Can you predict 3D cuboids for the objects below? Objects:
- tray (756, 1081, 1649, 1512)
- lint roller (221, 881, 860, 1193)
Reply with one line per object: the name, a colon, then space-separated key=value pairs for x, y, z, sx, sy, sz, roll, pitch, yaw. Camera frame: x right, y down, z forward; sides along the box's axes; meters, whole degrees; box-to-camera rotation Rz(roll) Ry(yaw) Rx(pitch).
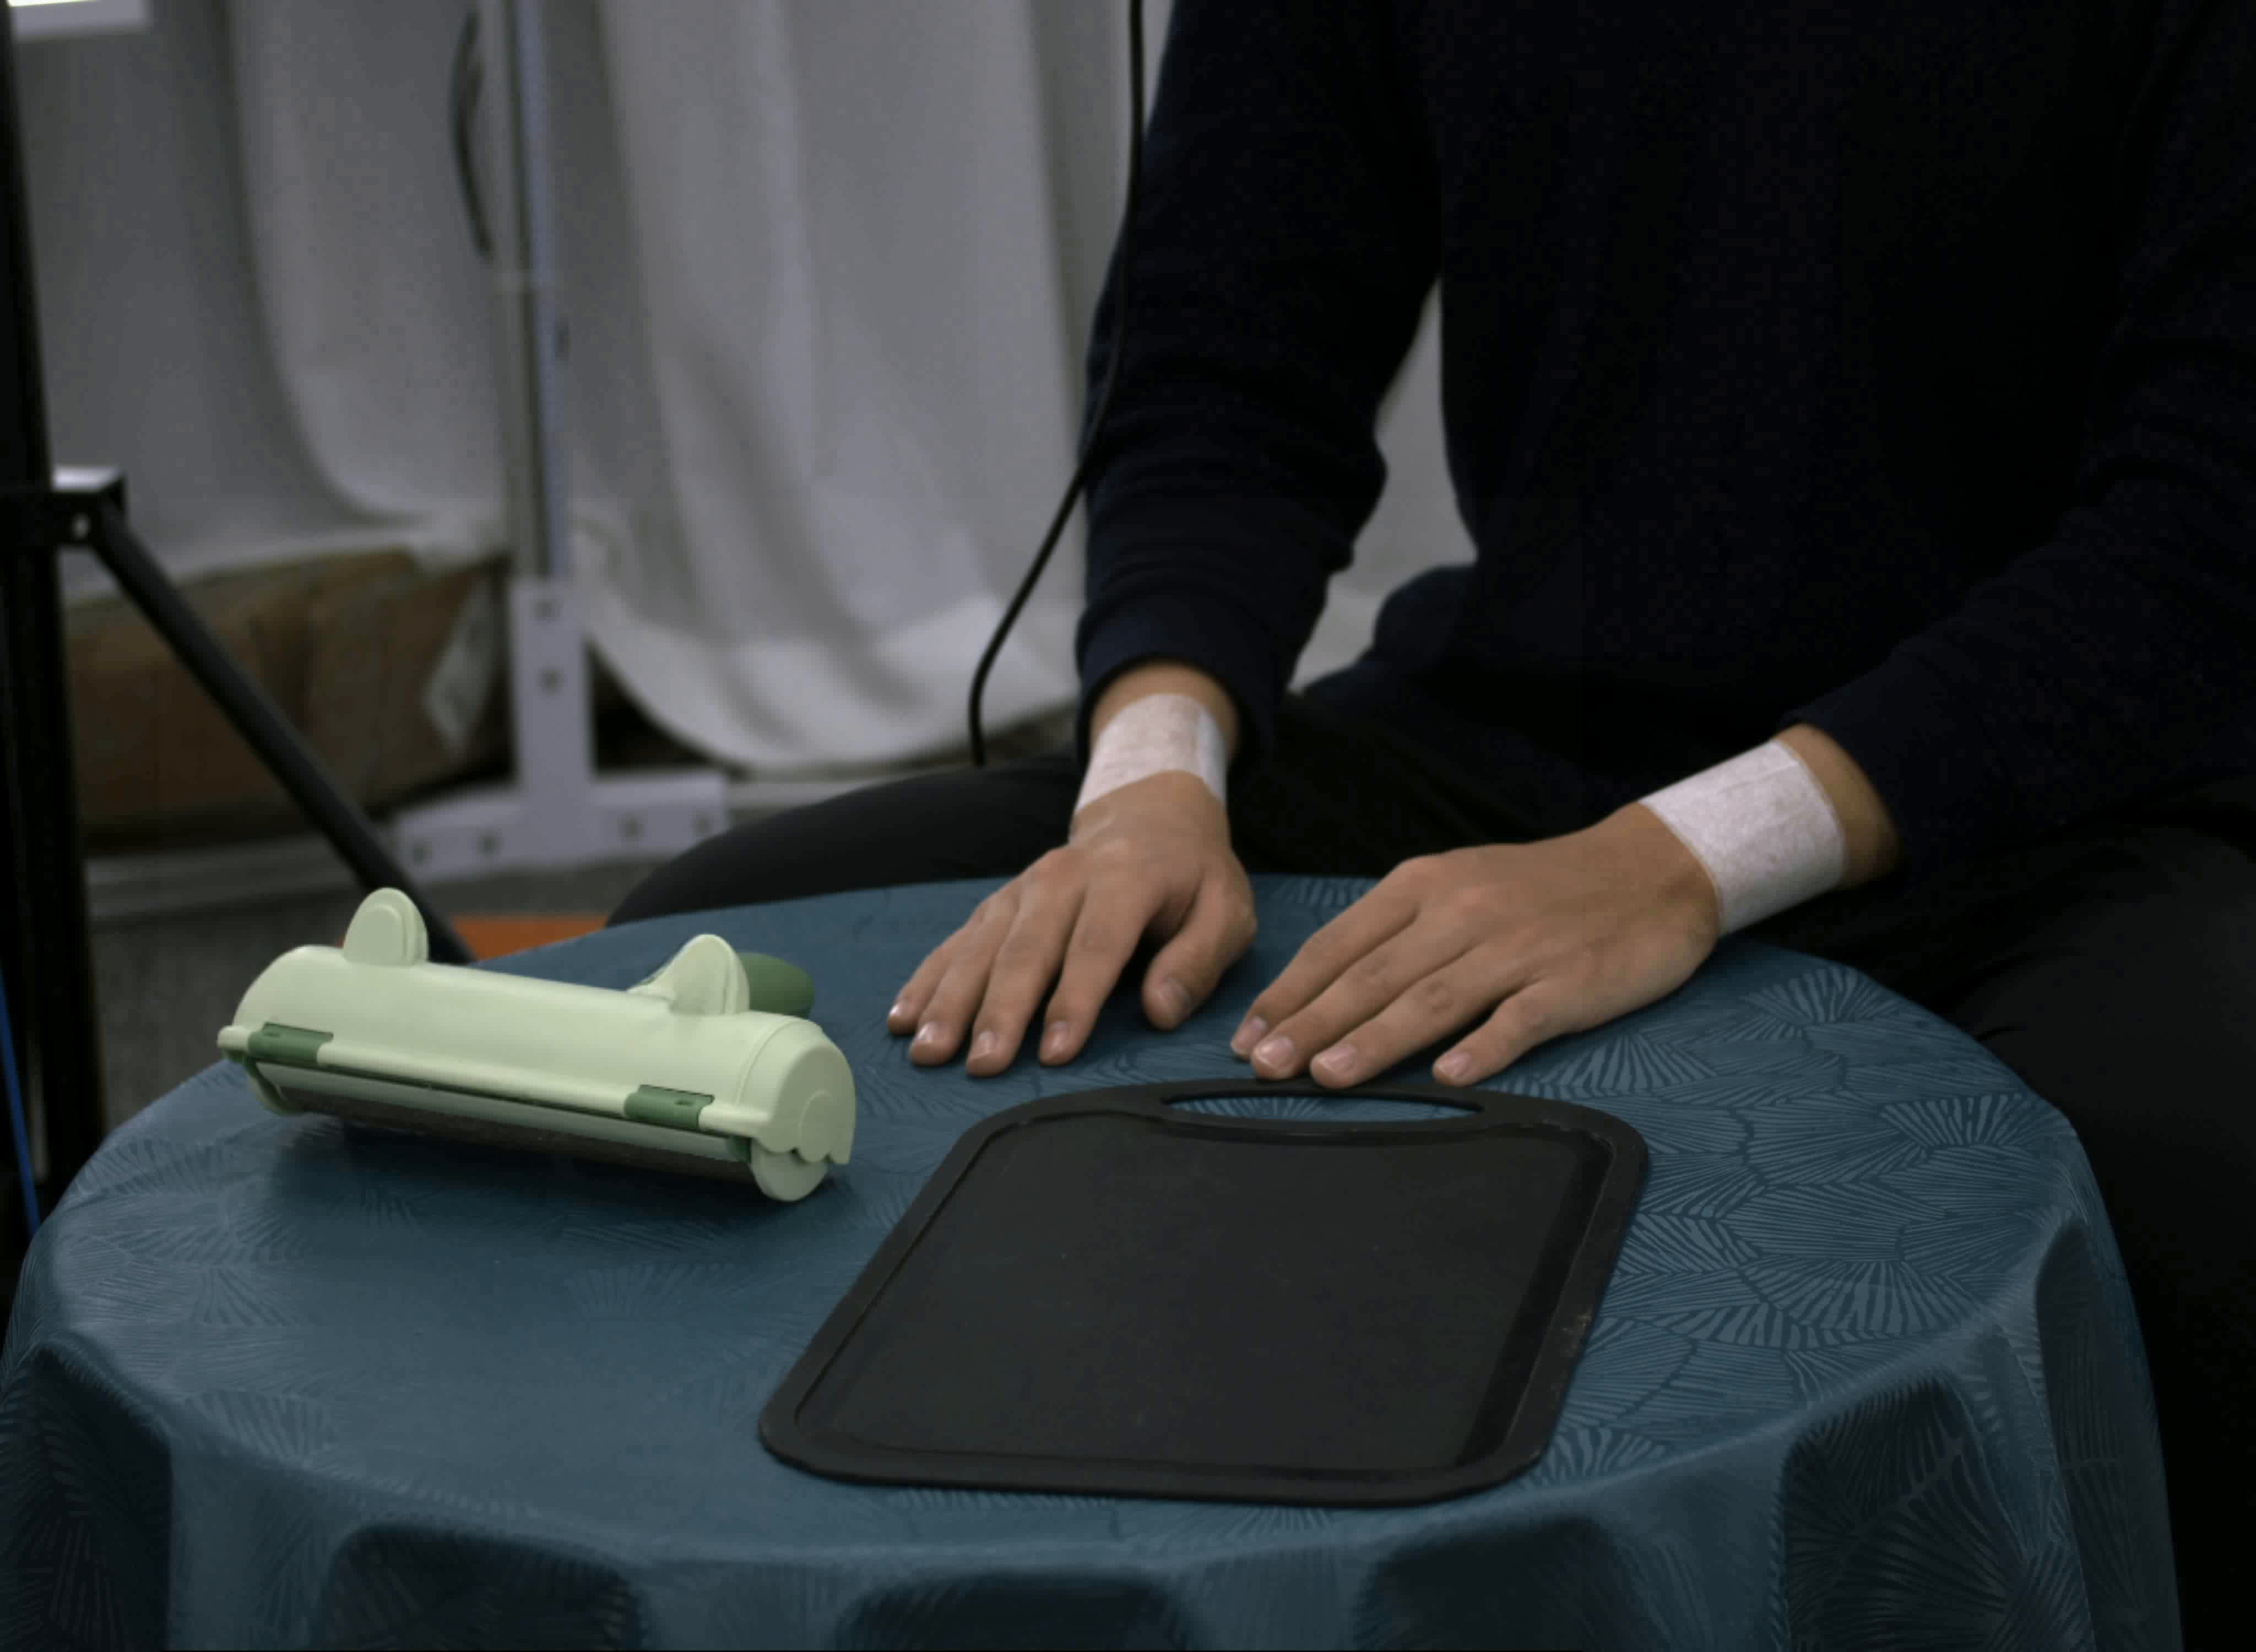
tray: x=0.030 y=0.123 z=1.488 sx=0.212 sy=0.010 sz=0.323 roll=1 pitch=16 yaw=14
lint roller: x=-0.151 y=0.045 z=1.647 sx=0.202 sy=0.082 sz=0.180 roll=7 pitch=25 yaw=28
